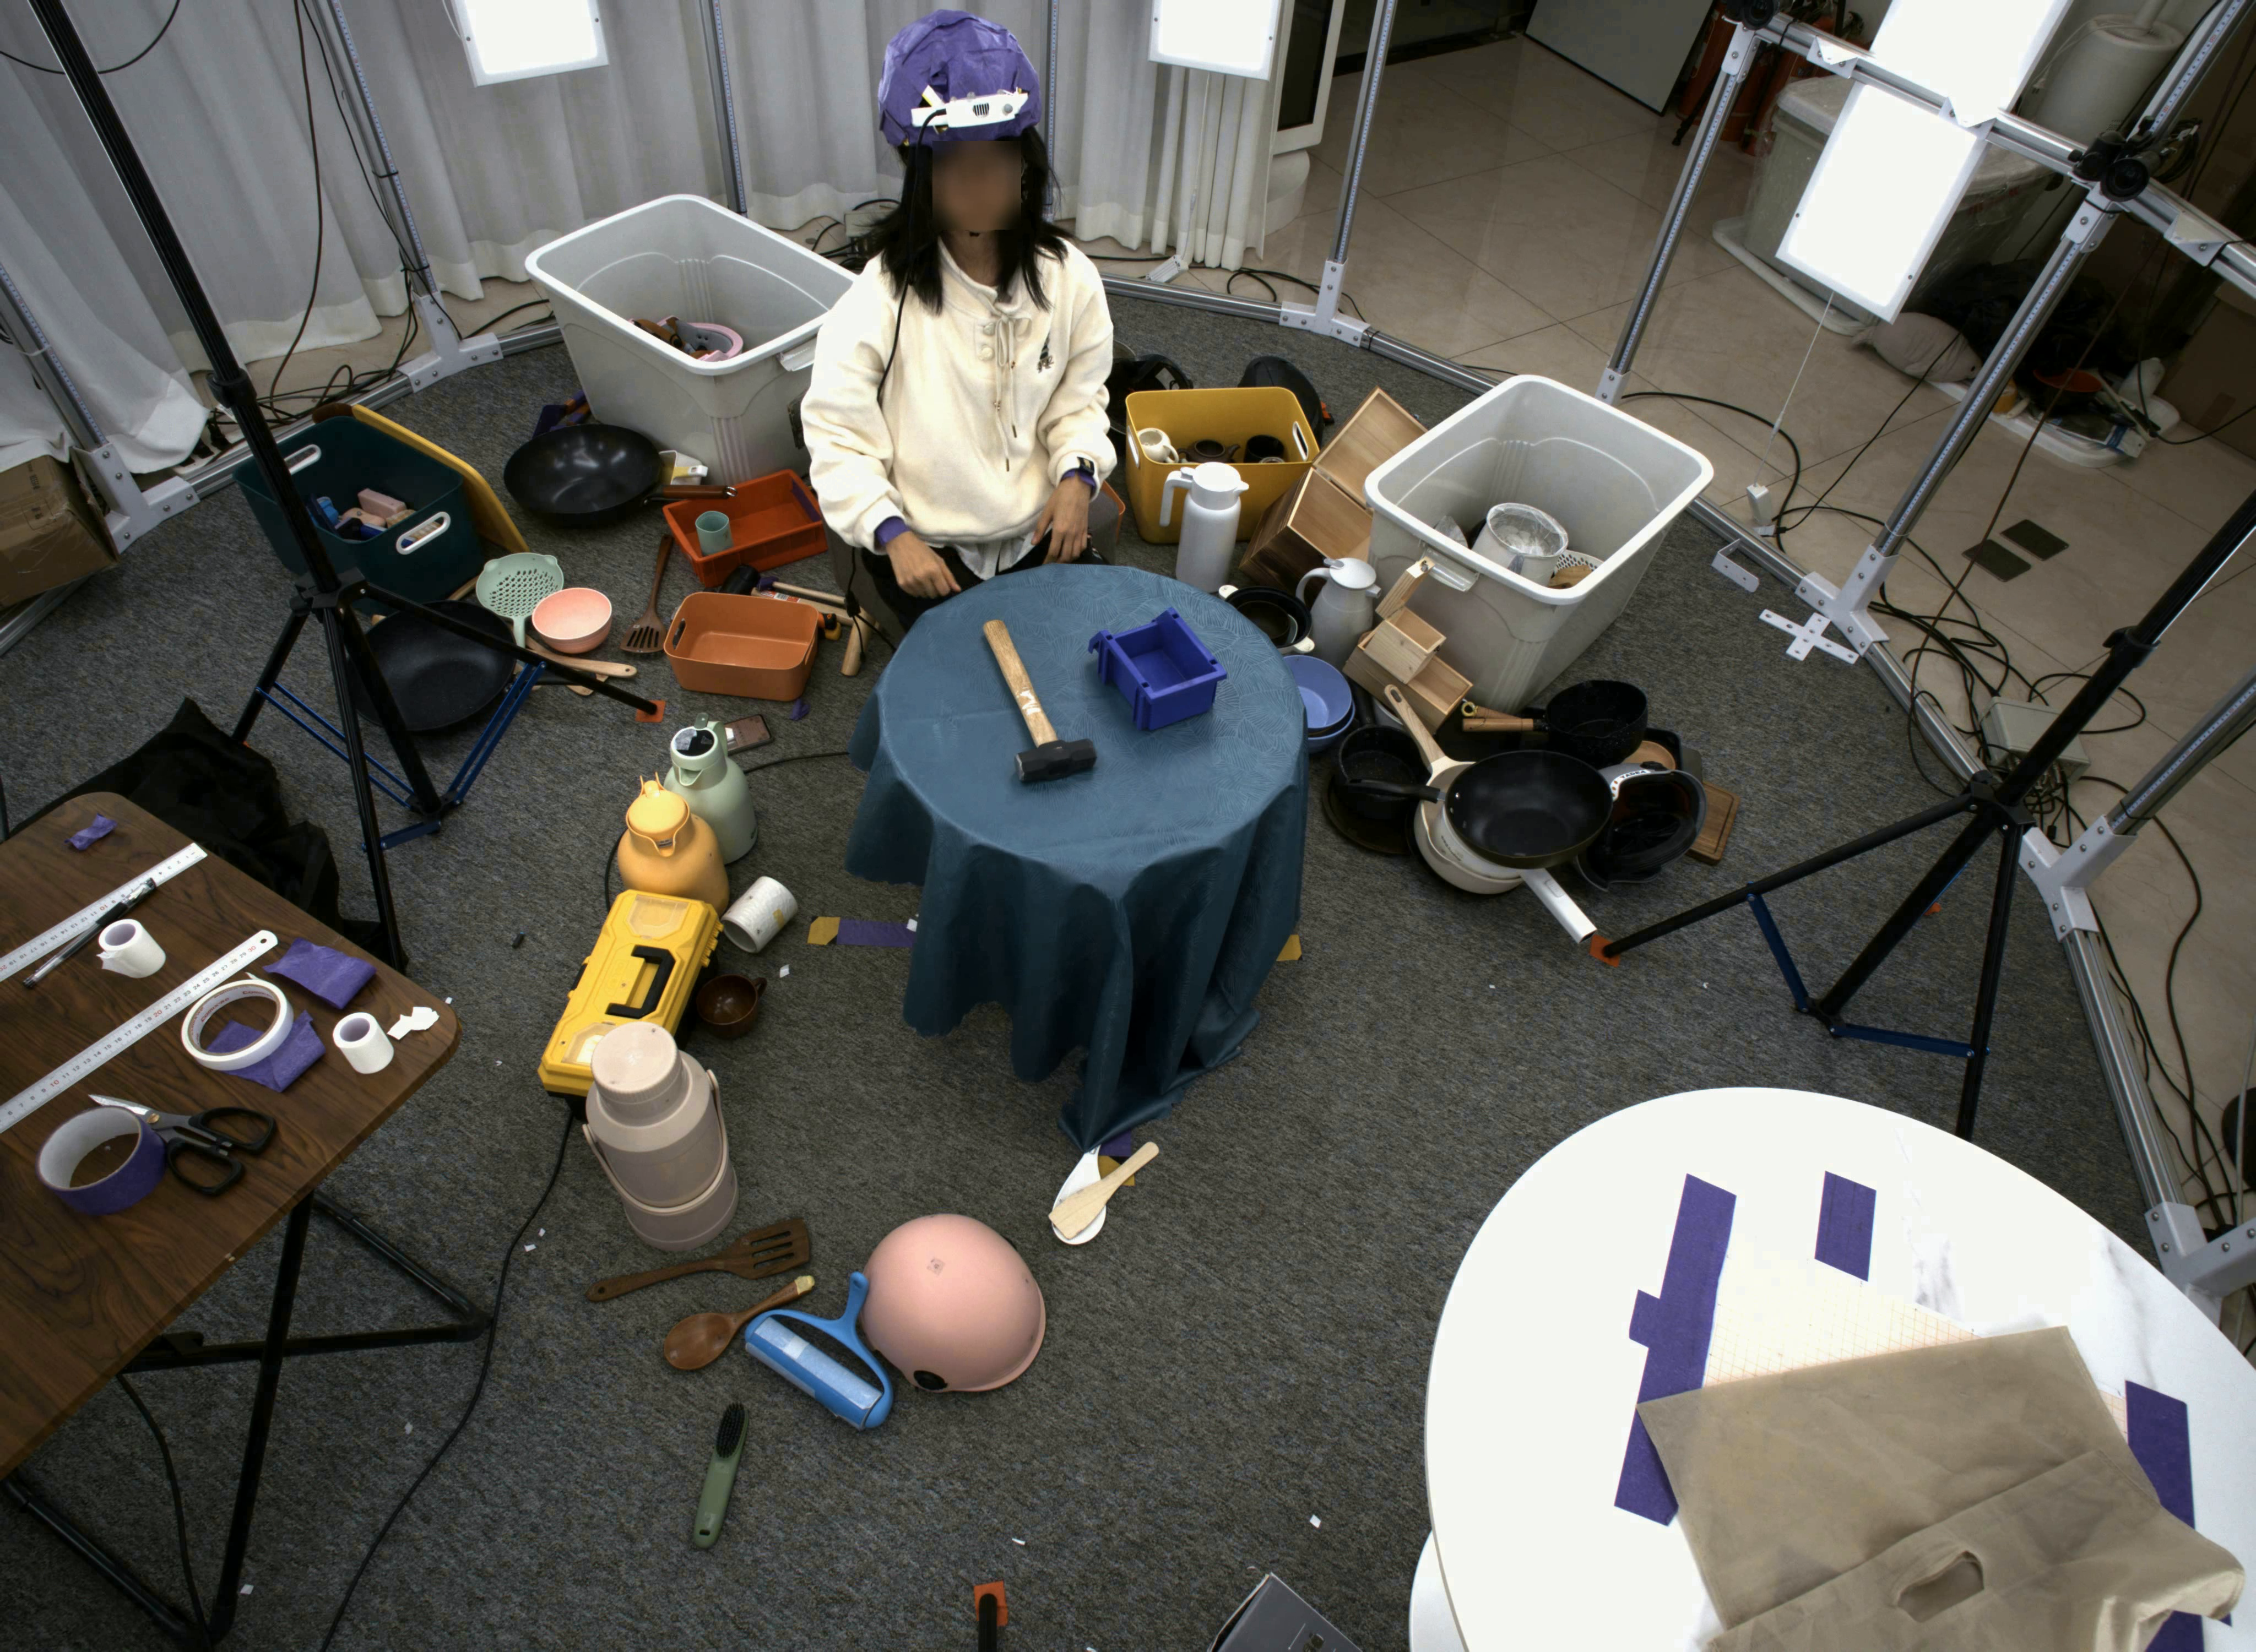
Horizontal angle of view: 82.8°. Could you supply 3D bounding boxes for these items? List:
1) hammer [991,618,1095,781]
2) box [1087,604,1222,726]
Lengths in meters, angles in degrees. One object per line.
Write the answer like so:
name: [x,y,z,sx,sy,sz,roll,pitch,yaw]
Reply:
hammer: [-0.140,-0.186,1.800,0.107,0.037,0.313,-12,50,-13]
box: [0.033,-0.233,1.822,0.125,0.080,0.183,-20,56,-19]
